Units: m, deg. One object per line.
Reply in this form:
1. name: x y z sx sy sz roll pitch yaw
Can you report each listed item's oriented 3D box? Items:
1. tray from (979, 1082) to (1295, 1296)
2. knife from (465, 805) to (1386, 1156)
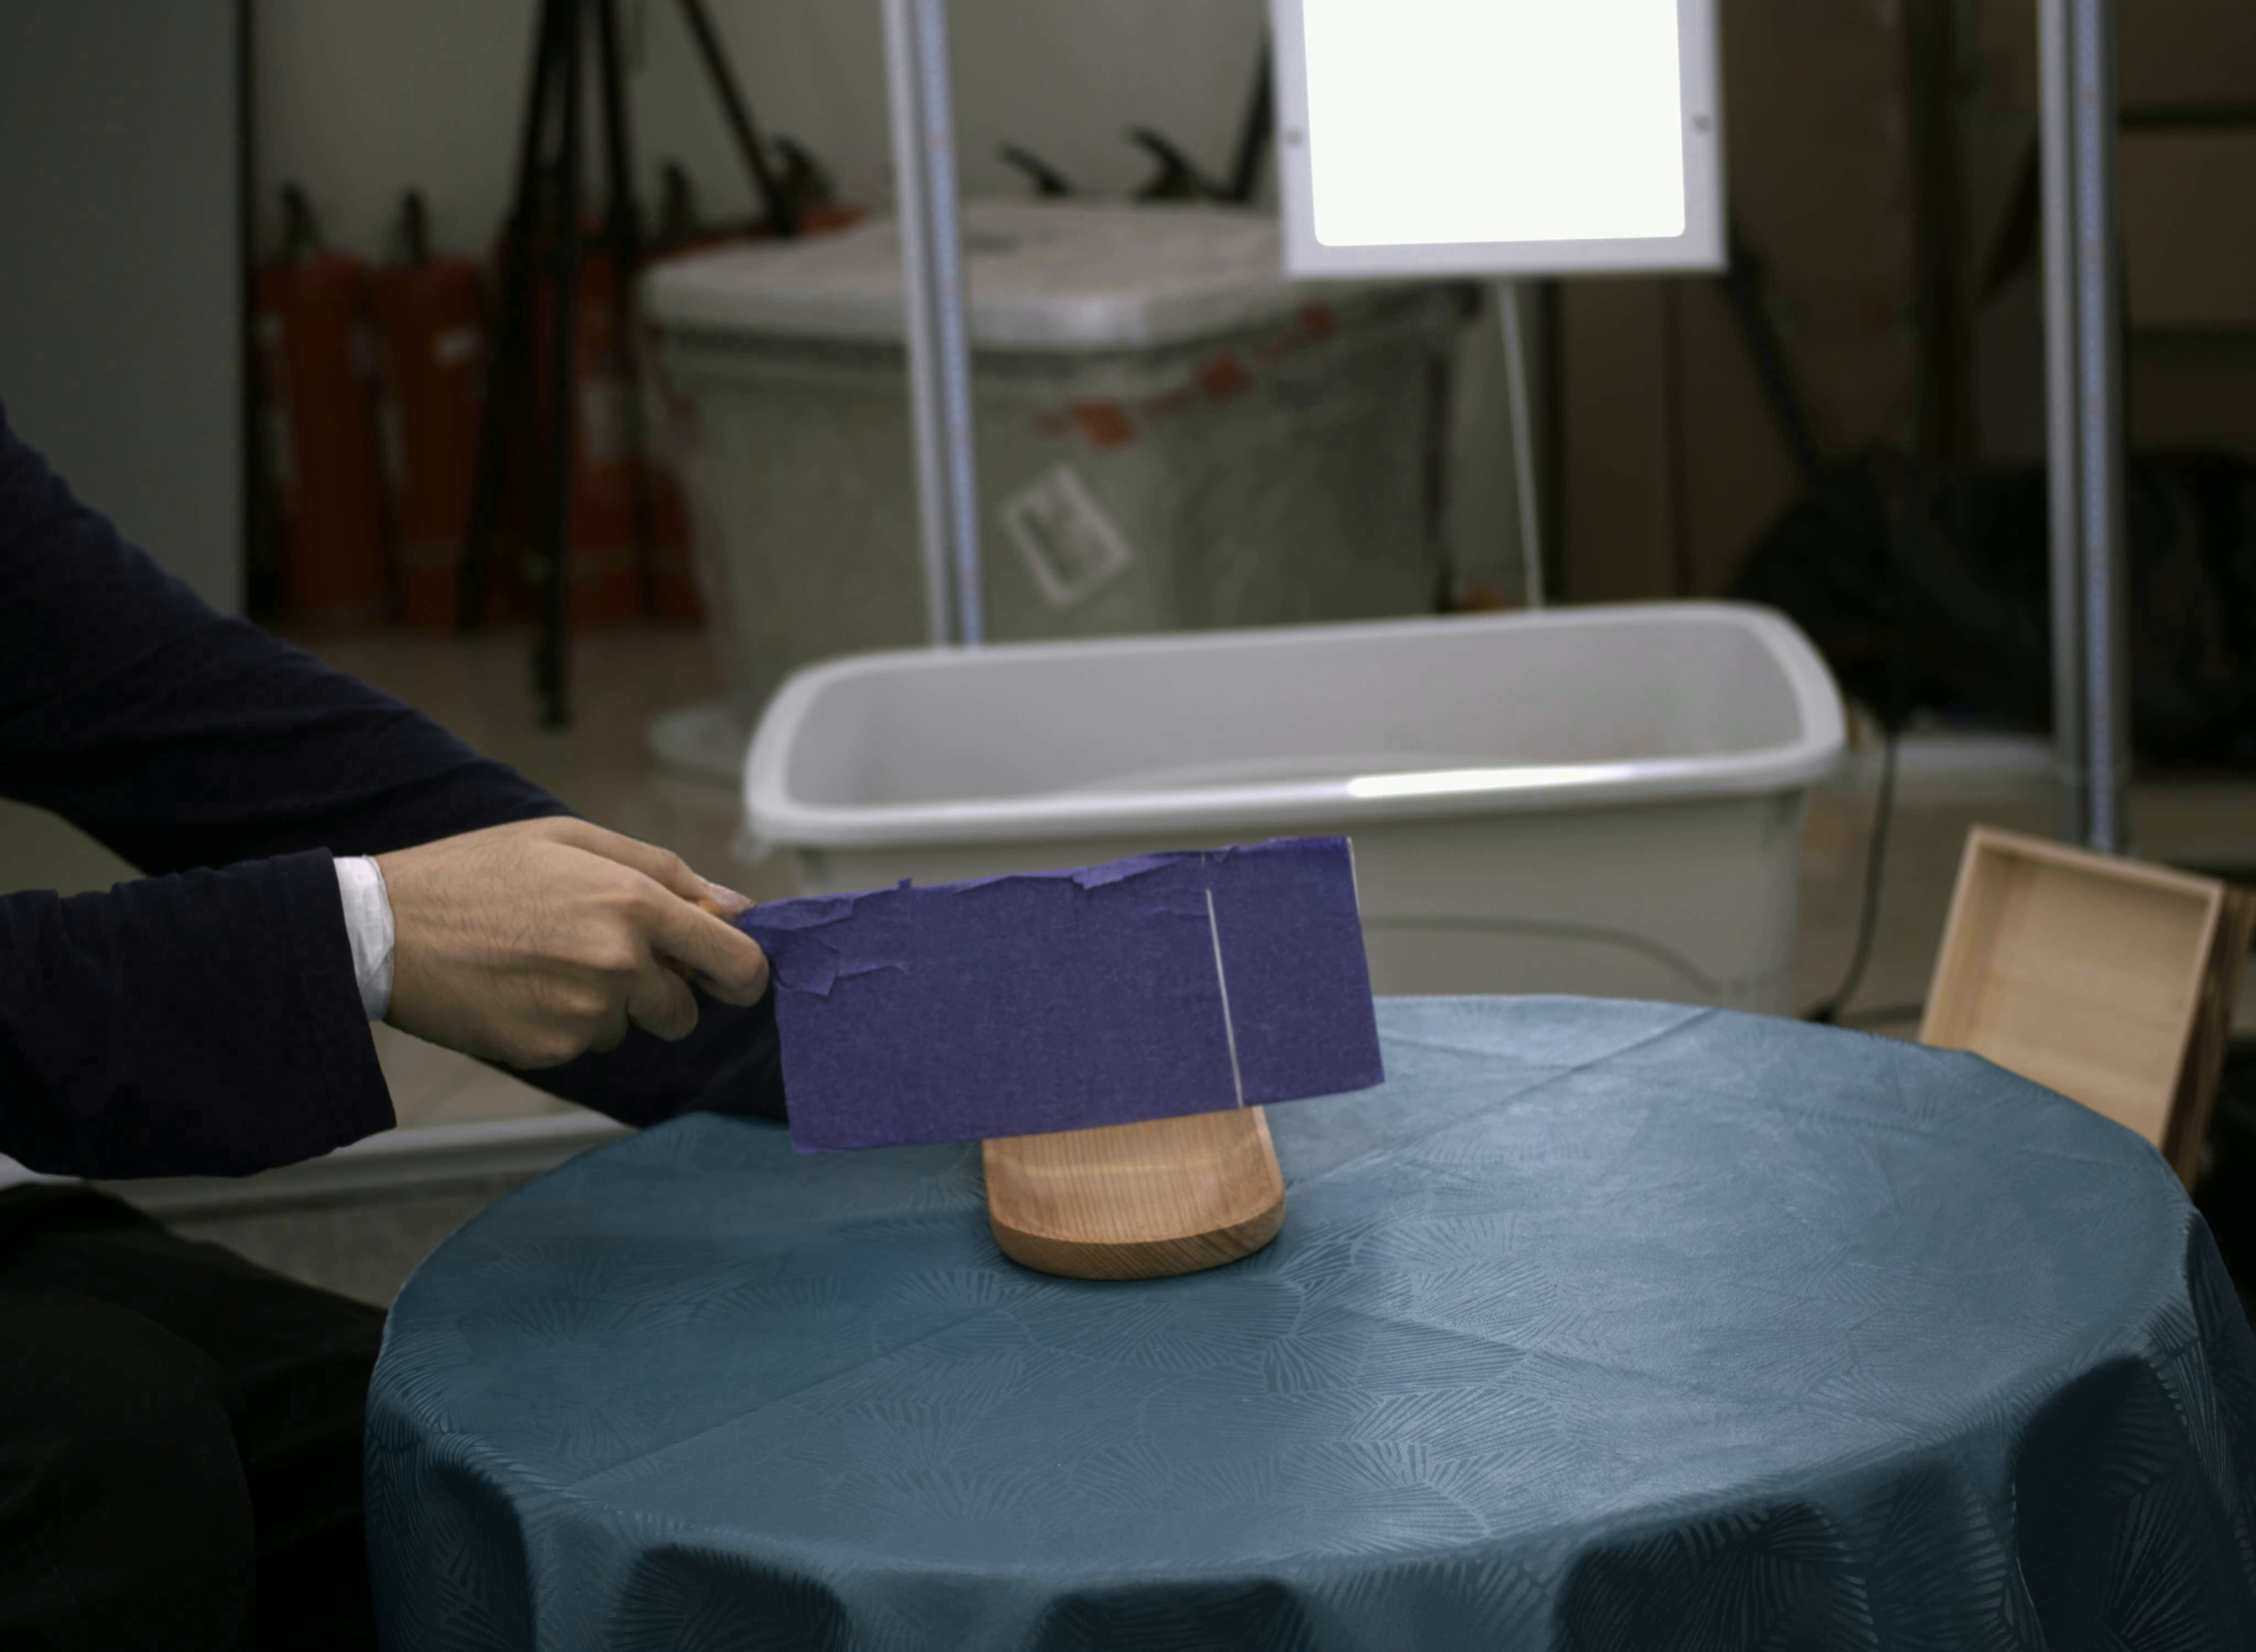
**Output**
1. tray: 0.001 0.117 1.911 0.101 0.020 0.231 -8 17 -2
2. knife: -0.069 0.064 1.903 0.315 0.104 0.032 -7 -1 3
